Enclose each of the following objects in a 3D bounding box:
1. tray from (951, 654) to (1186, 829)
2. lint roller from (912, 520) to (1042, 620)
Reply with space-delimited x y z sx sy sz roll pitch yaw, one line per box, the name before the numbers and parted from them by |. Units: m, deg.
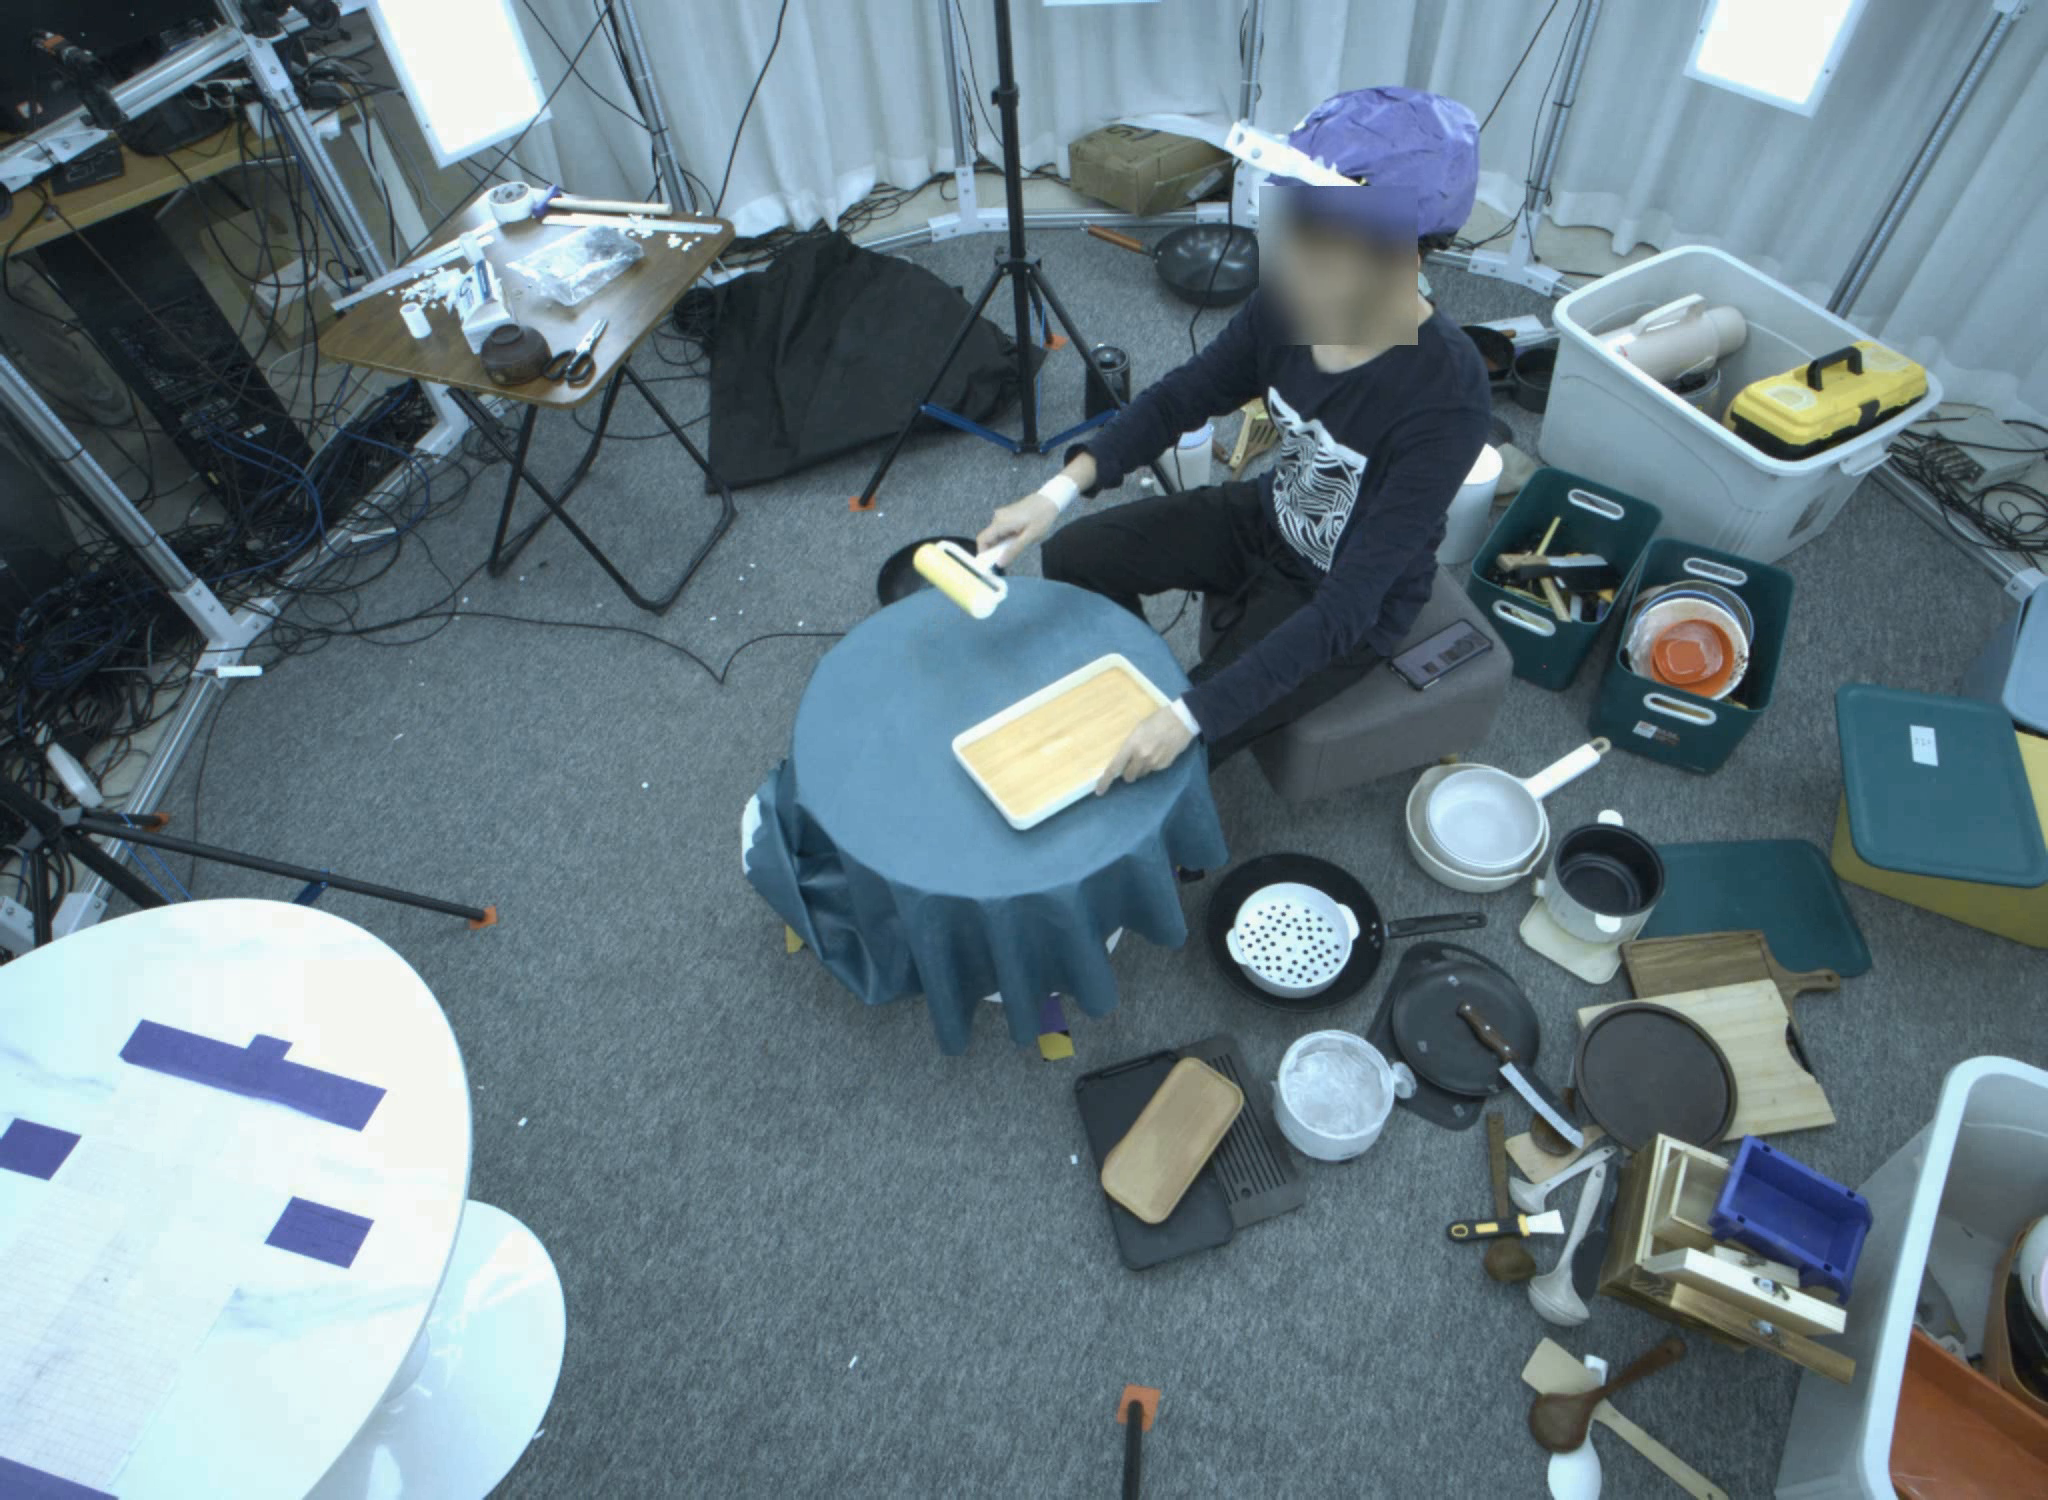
tray | 0.065 -0.018 1.777 0.303 0.028 0.187 -29 53 -18
lint roller | -0.053 -0.295 1.836 0.192 0.052 0.170 -43 49 -9
